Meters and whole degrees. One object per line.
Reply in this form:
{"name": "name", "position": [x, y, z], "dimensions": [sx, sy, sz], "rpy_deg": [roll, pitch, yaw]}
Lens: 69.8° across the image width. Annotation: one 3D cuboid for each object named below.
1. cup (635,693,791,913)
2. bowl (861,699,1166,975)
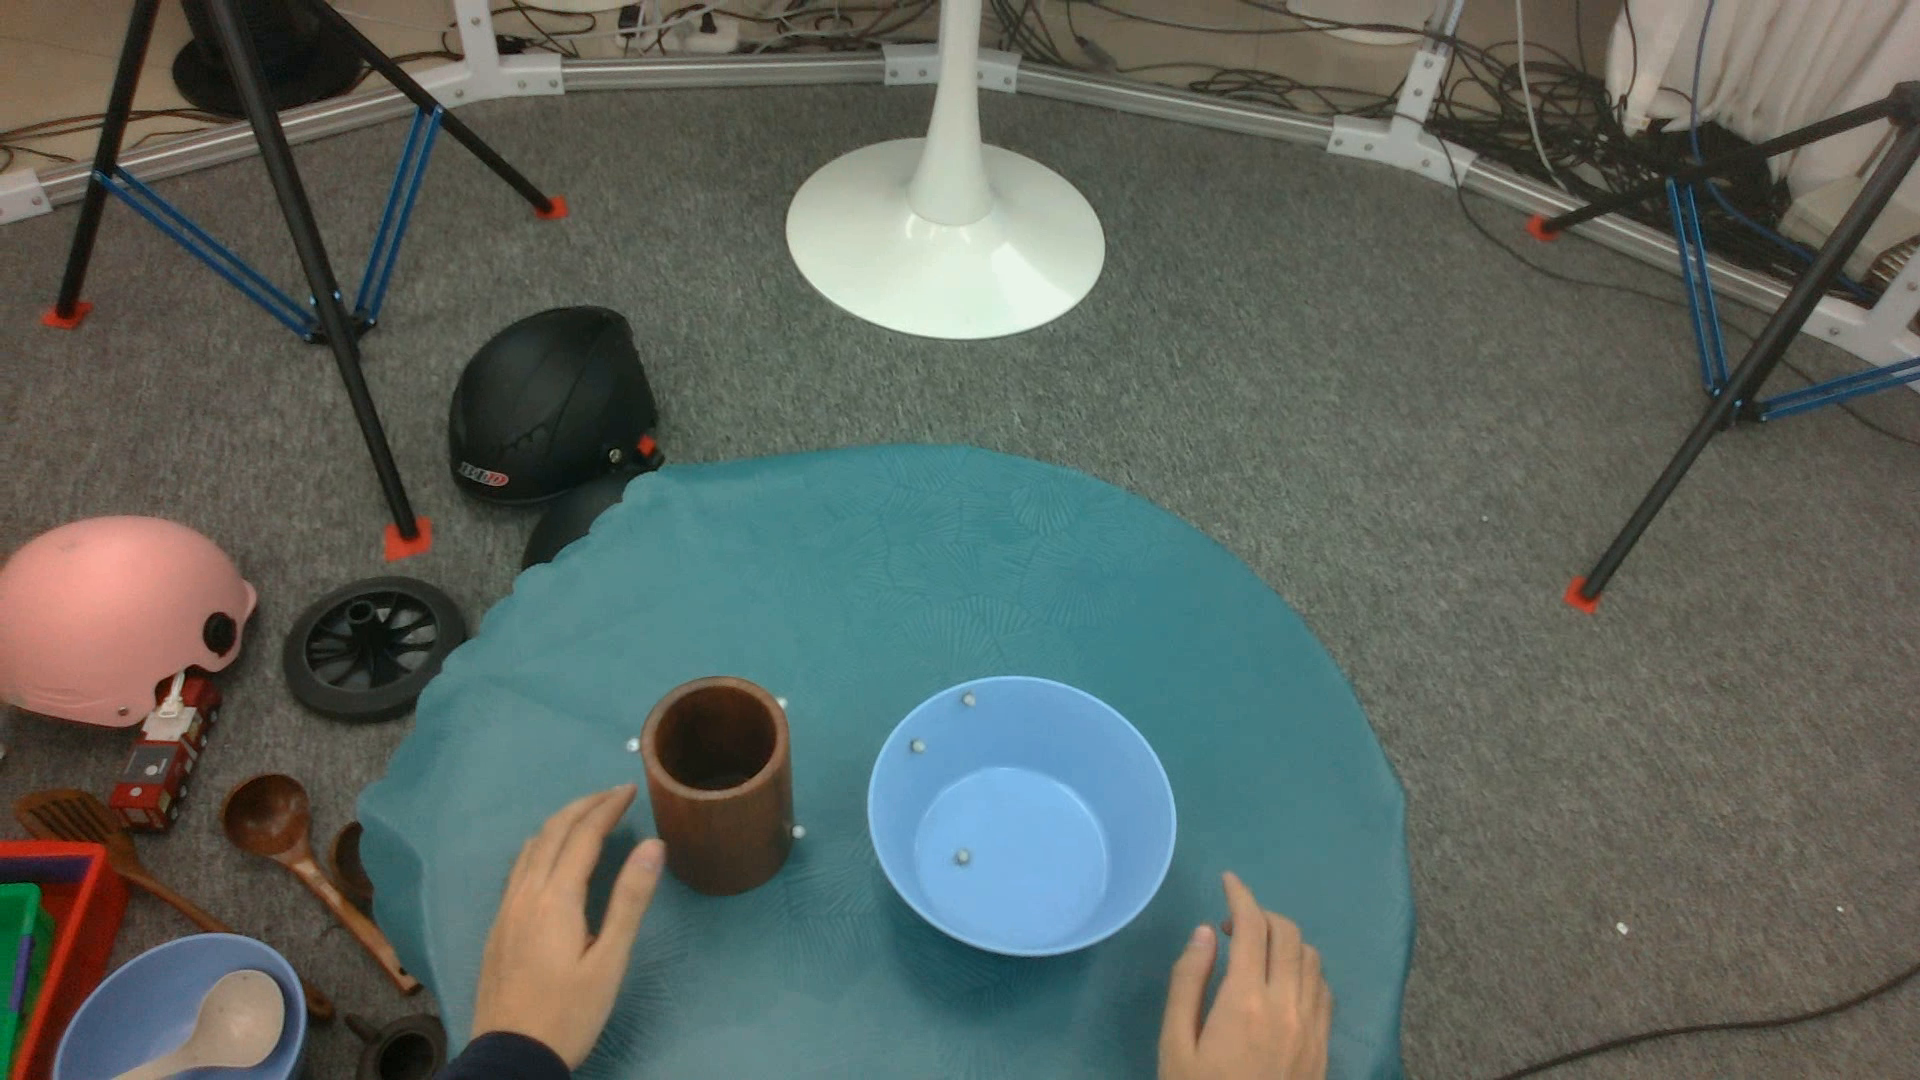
{"name": "cup", "position": [-0.138, 0.153, 0.793], "dimensions": [0.088, 0.118, 0.088], "rpy_deg": [2, 51, -2]}
{"name": "bowl", "position": [0.029, 0.185, 0.813], "dimensions": [0.176, 0.070, 0.177], "rpy_deg": [3, 49, -3]}
